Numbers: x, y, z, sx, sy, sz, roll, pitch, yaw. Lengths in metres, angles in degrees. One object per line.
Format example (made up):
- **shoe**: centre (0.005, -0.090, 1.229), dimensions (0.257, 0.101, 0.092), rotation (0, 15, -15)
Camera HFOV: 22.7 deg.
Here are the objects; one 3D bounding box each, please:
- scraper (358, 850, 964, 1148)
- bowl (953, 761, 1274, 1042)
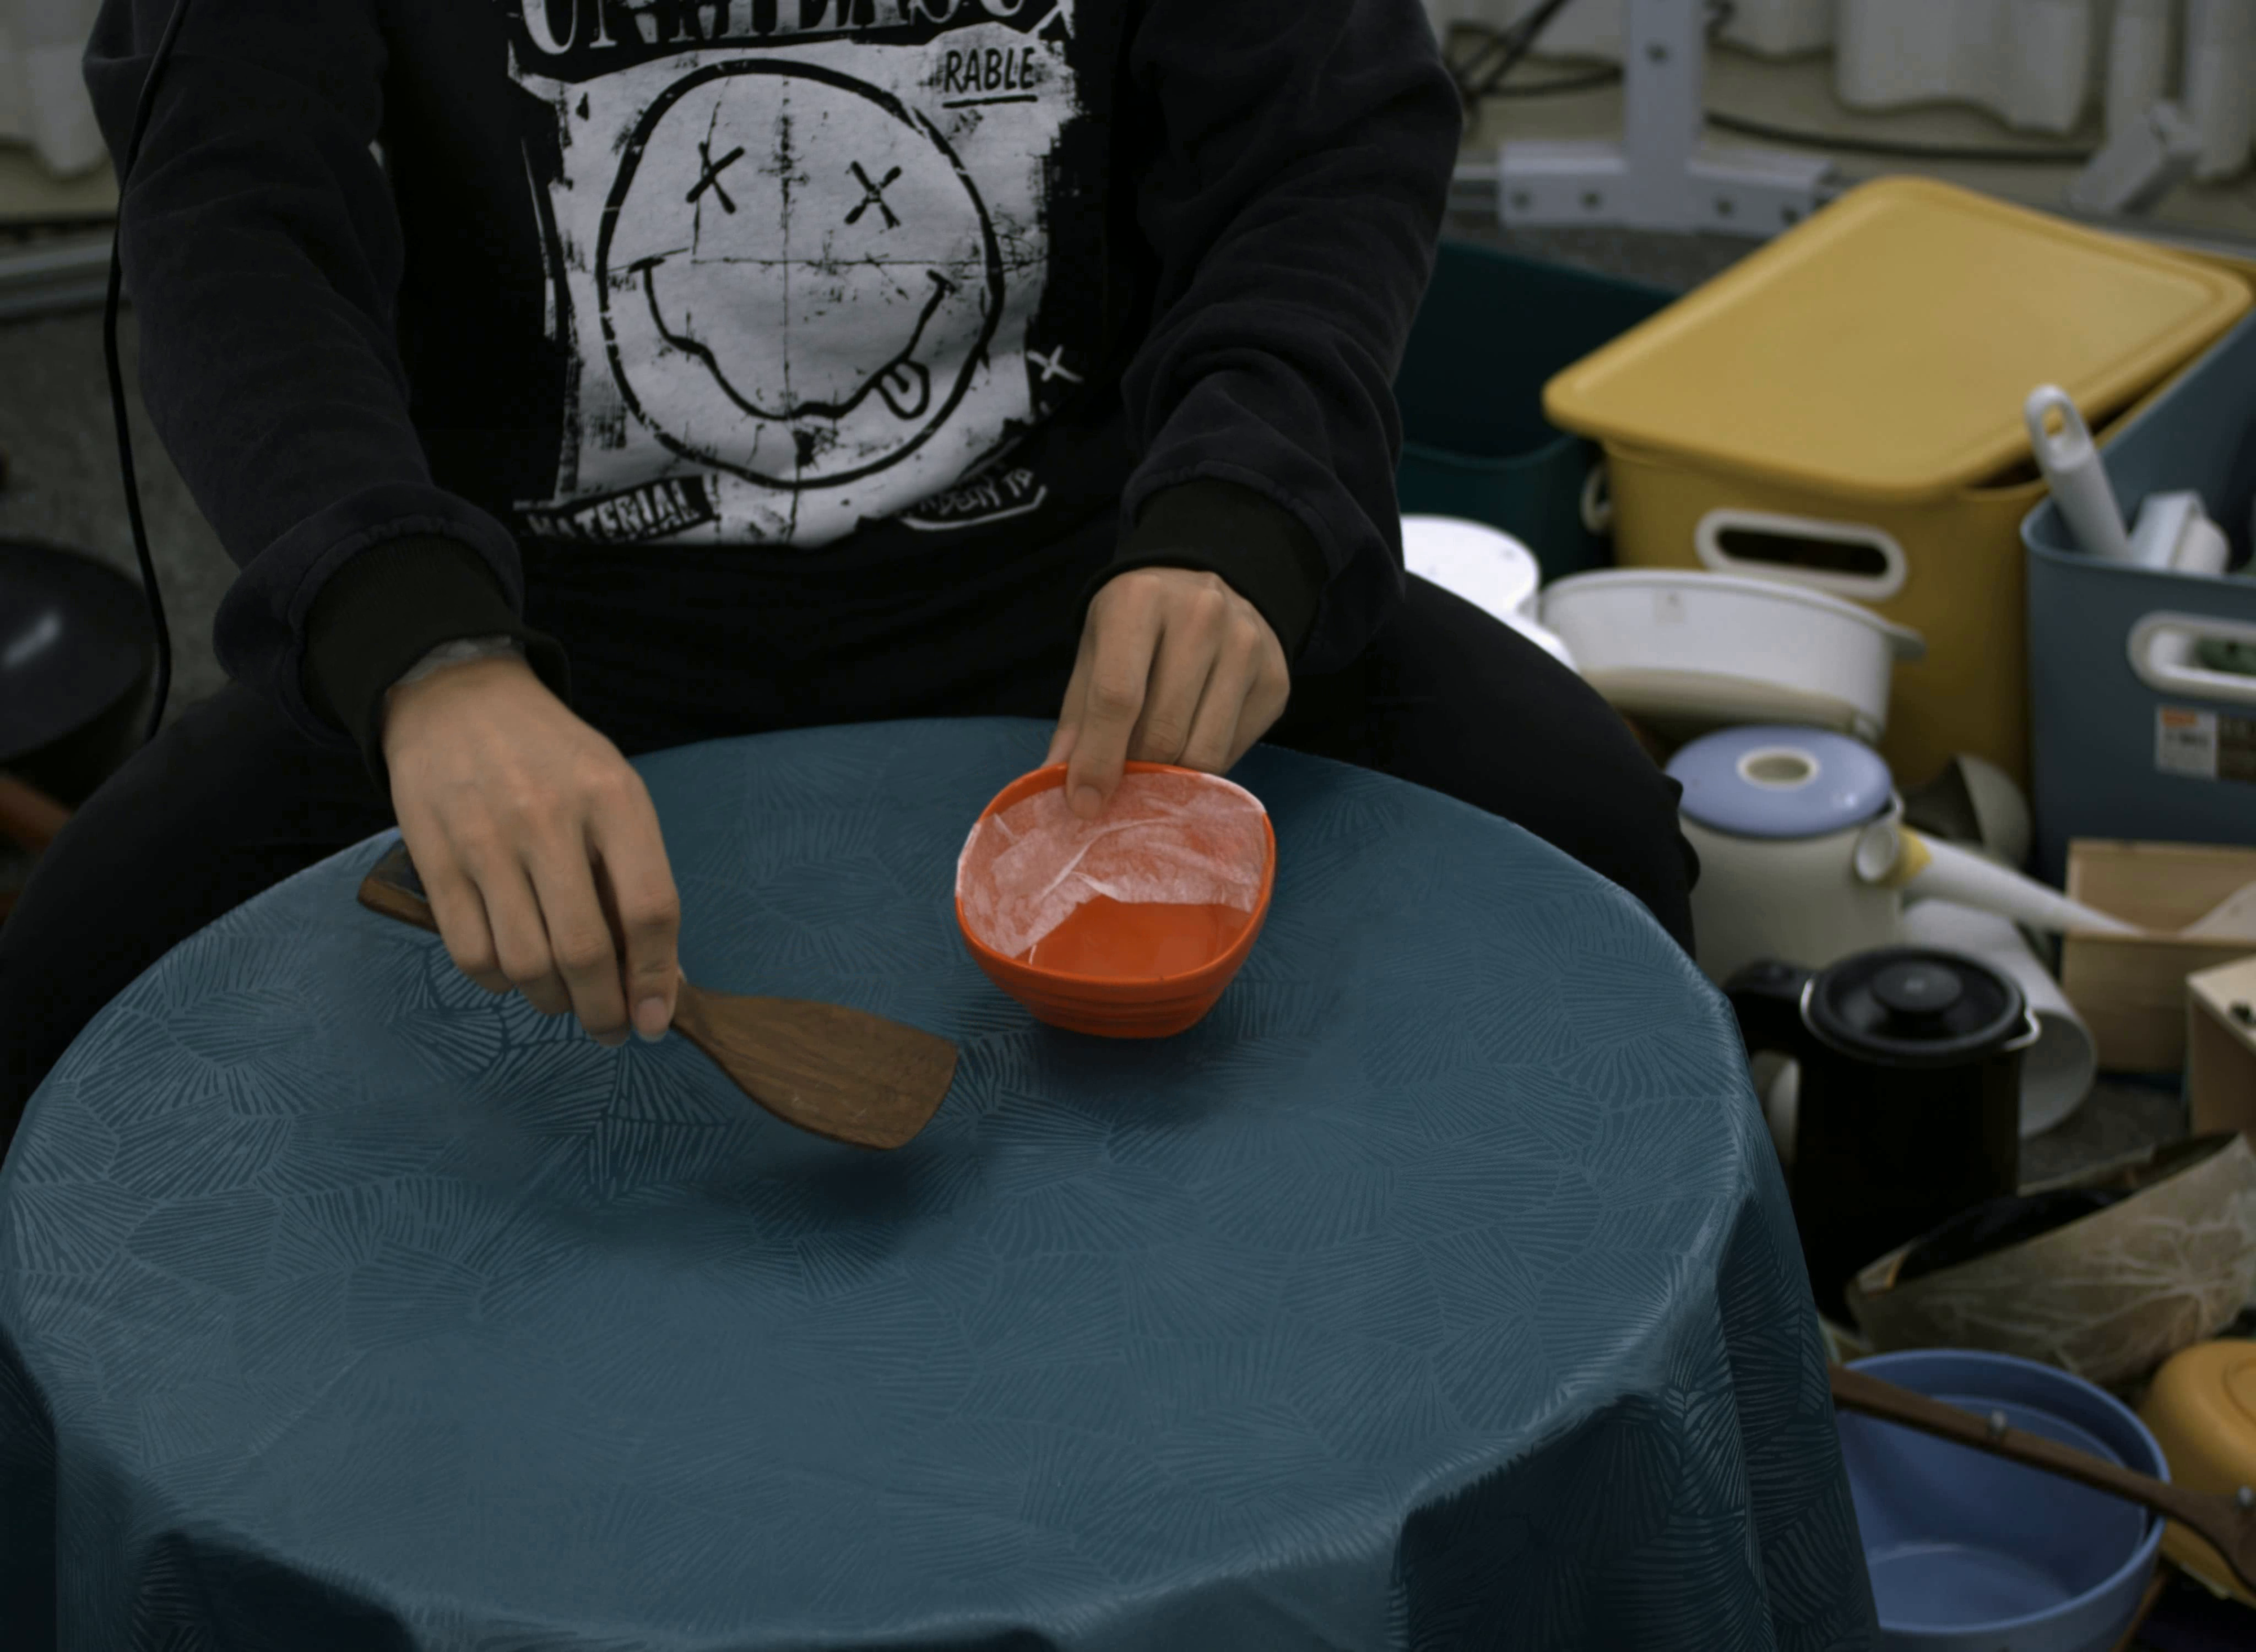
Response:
- **scraper**: centre (-0.158, 0.053, 1.871), dimensions (0.210, 0.010, 0.077), rotation (22, 33, 6)
- **bowl**: centre (-0.004, 0.033, 1.953), dimensions (0.118, 0.050, 0.121), rotation (-2, 43, 2)
